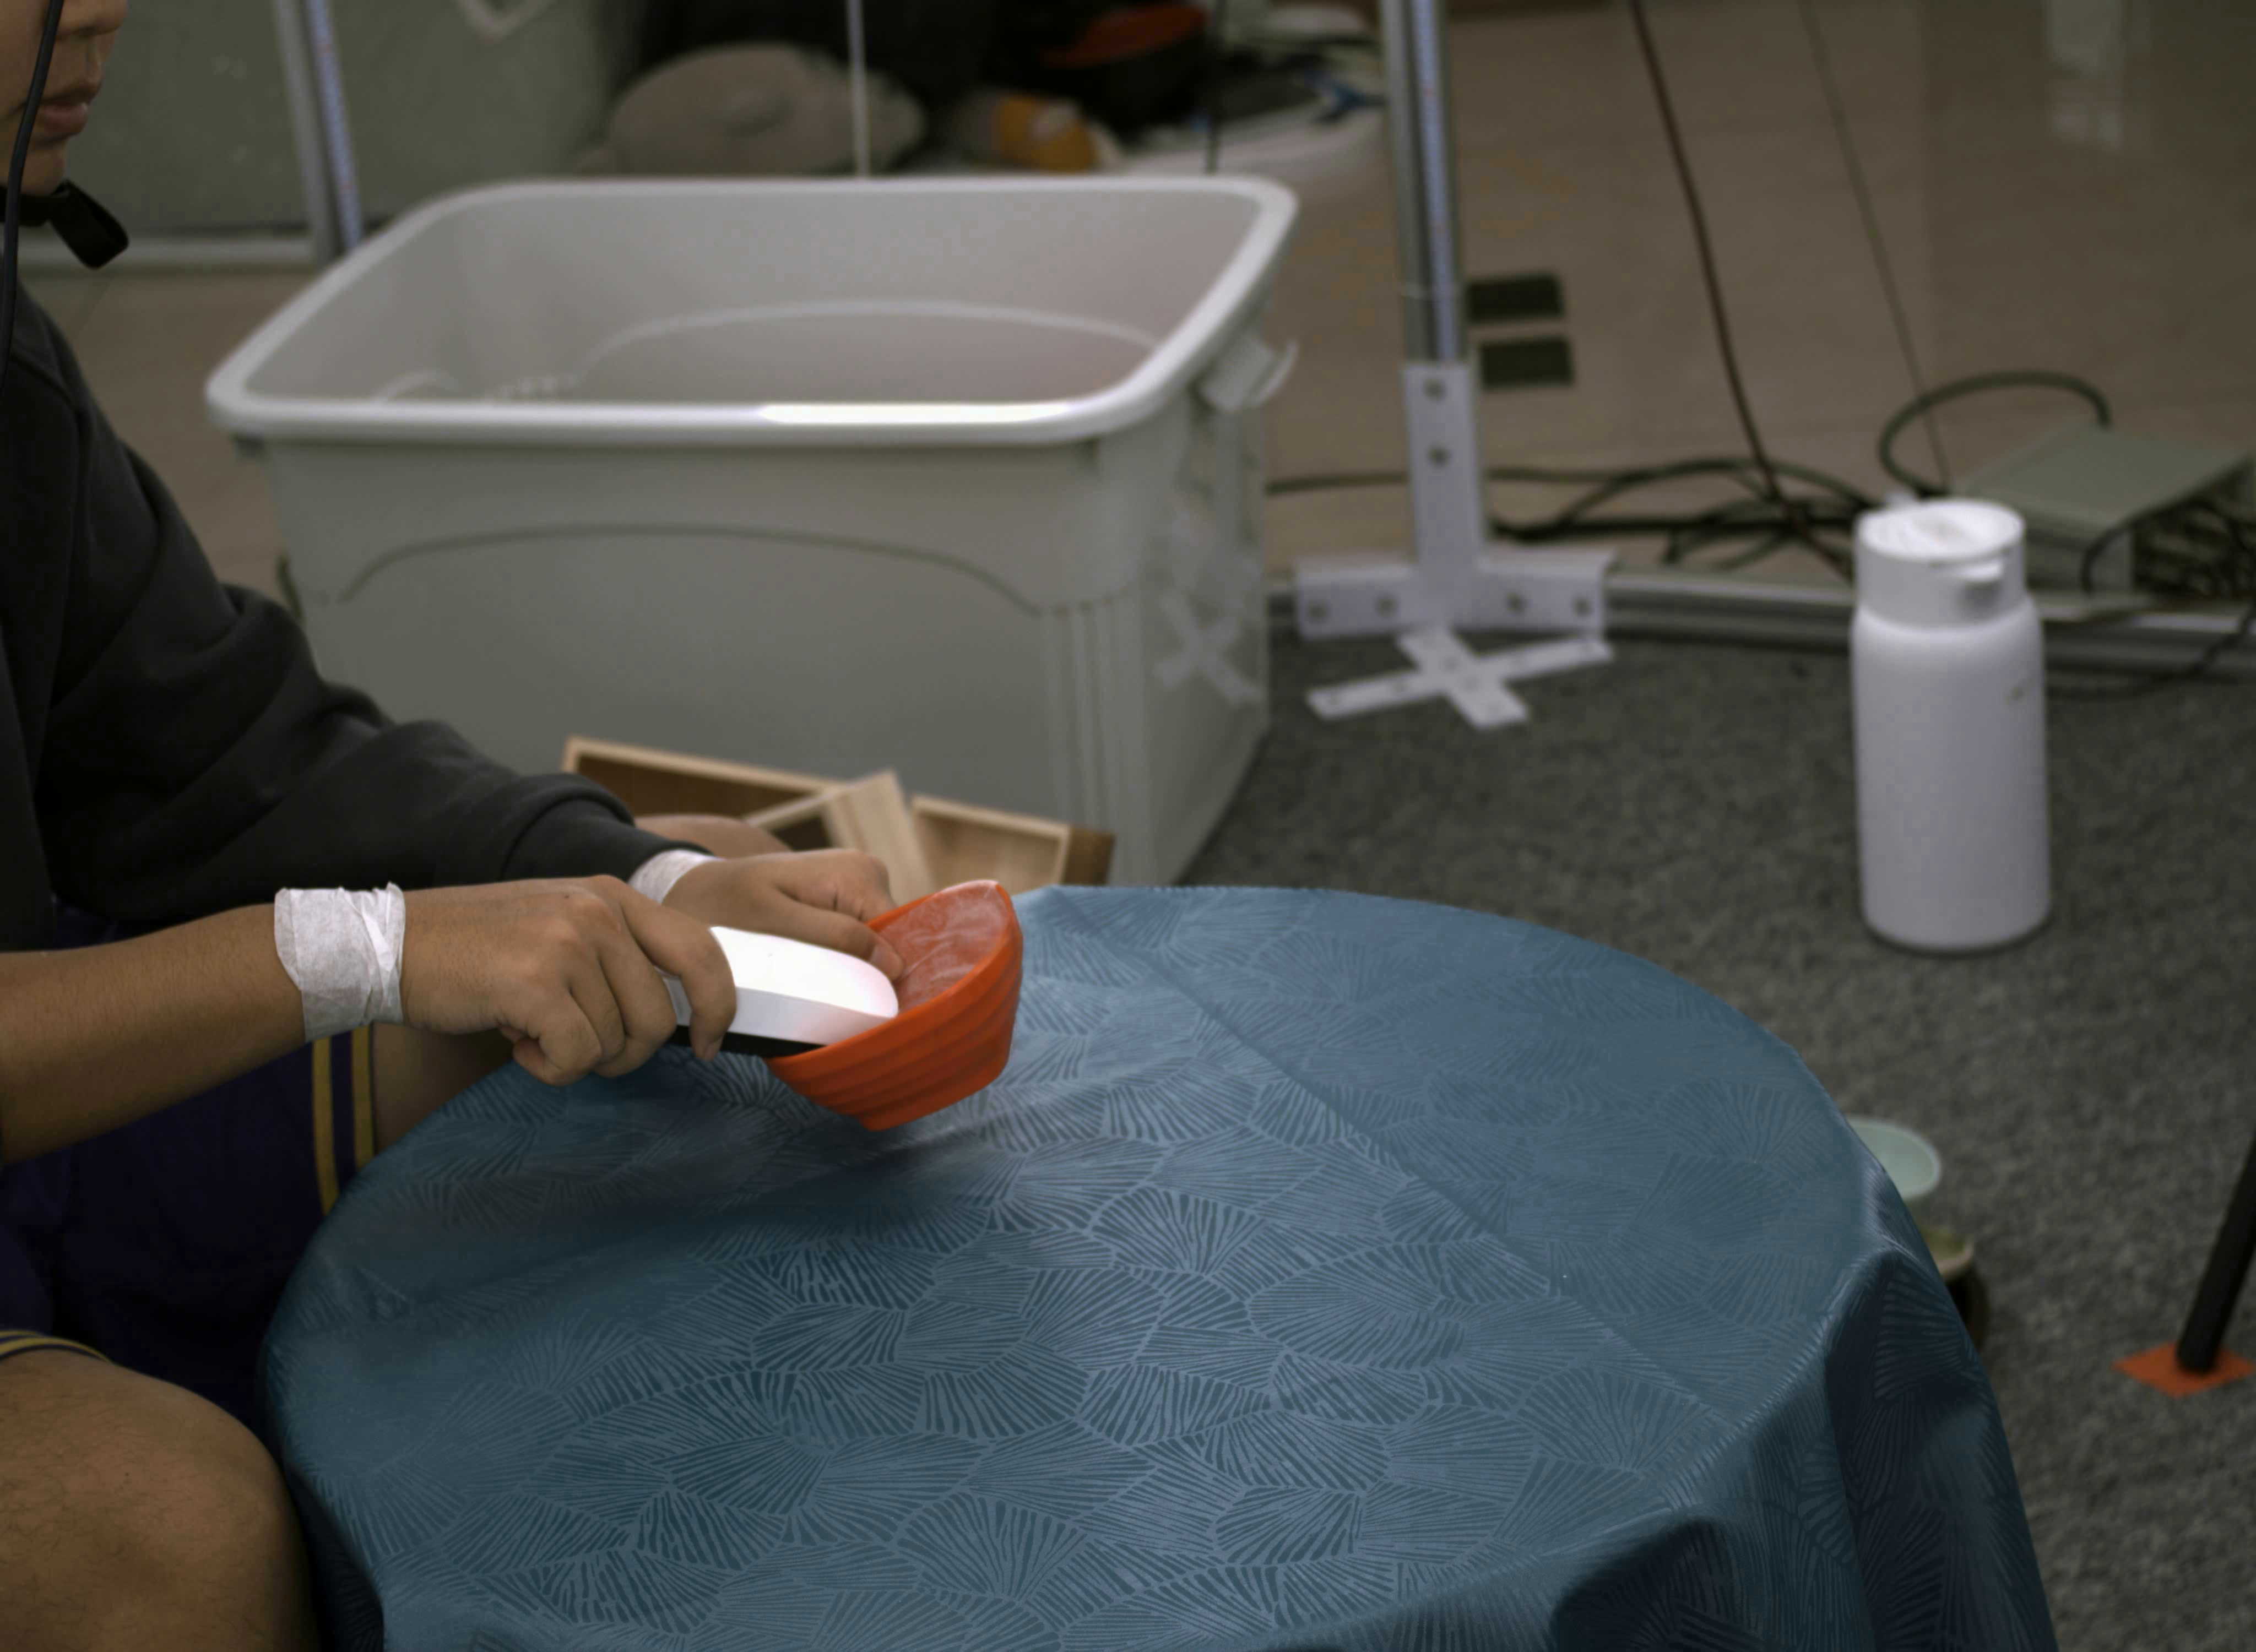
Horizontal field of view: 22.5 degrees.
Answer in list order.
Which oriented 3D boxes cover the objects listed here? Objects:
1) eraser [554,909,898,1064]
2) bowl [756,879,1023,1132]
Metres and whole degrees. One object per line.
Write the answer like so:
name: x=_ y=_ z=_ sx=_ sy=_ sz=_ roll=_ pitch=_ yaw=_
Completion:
eraser: x=-0.153 y=0.062 z=2.157 sx=0.131 sy=0.035 sz=0.062 roll=11 pitch=17 yaw=-16
bowl: x=-0.083 y=0.075 z=2.176 sx=0.119 sy=0.052 sz=0.117 roll=-26 pitch=22 yaw=11
